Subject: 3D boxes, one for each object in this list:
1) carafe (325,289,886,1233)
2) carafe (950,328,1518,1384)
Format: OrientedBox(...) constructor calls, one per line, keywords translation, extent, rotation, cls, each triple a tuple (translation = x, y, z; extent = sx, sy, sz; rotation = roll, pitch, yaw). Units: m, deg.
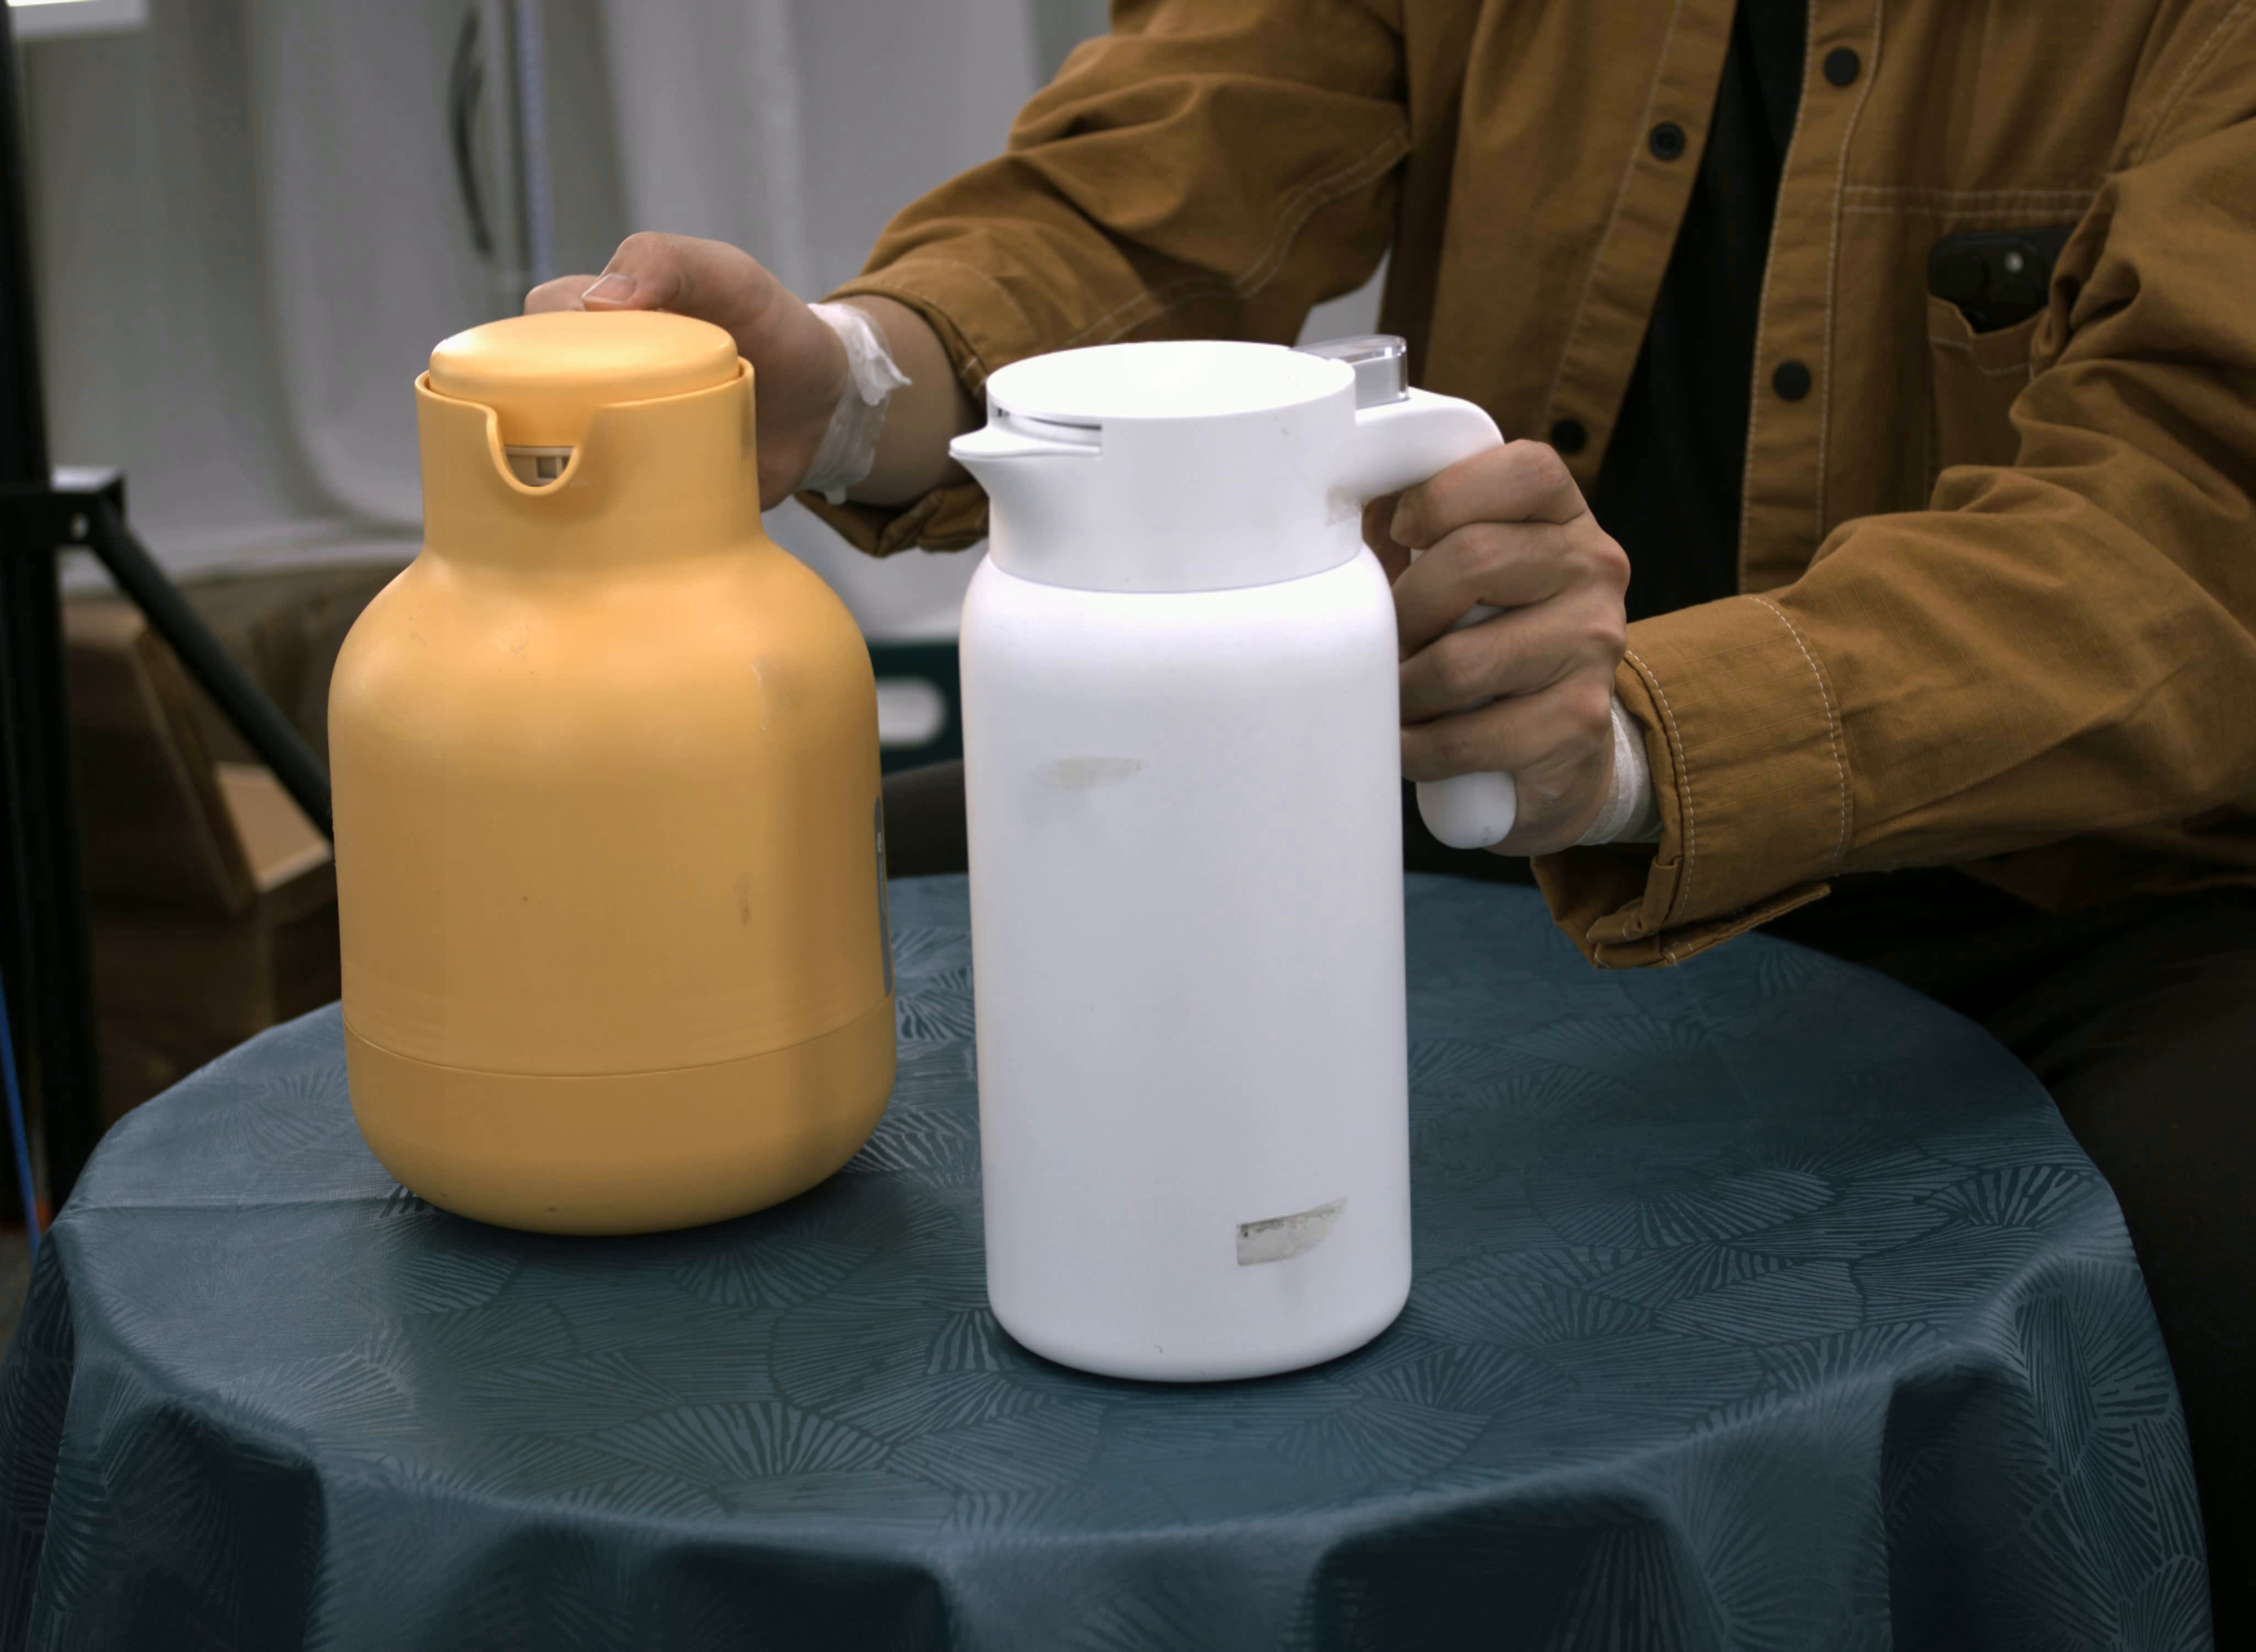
OrientedBox(translation=(-0.149, -0.027, 1.578), extent=(0.164, 0.260, 0.202), rotation=(3, 17, 9), cls="carafe")
OrientedBox(translation=(0.030, 0.004, 1.430), extent=(0.169, 0.269, 0.126), rotation=(-12, 16, -32), cls="carafe")
